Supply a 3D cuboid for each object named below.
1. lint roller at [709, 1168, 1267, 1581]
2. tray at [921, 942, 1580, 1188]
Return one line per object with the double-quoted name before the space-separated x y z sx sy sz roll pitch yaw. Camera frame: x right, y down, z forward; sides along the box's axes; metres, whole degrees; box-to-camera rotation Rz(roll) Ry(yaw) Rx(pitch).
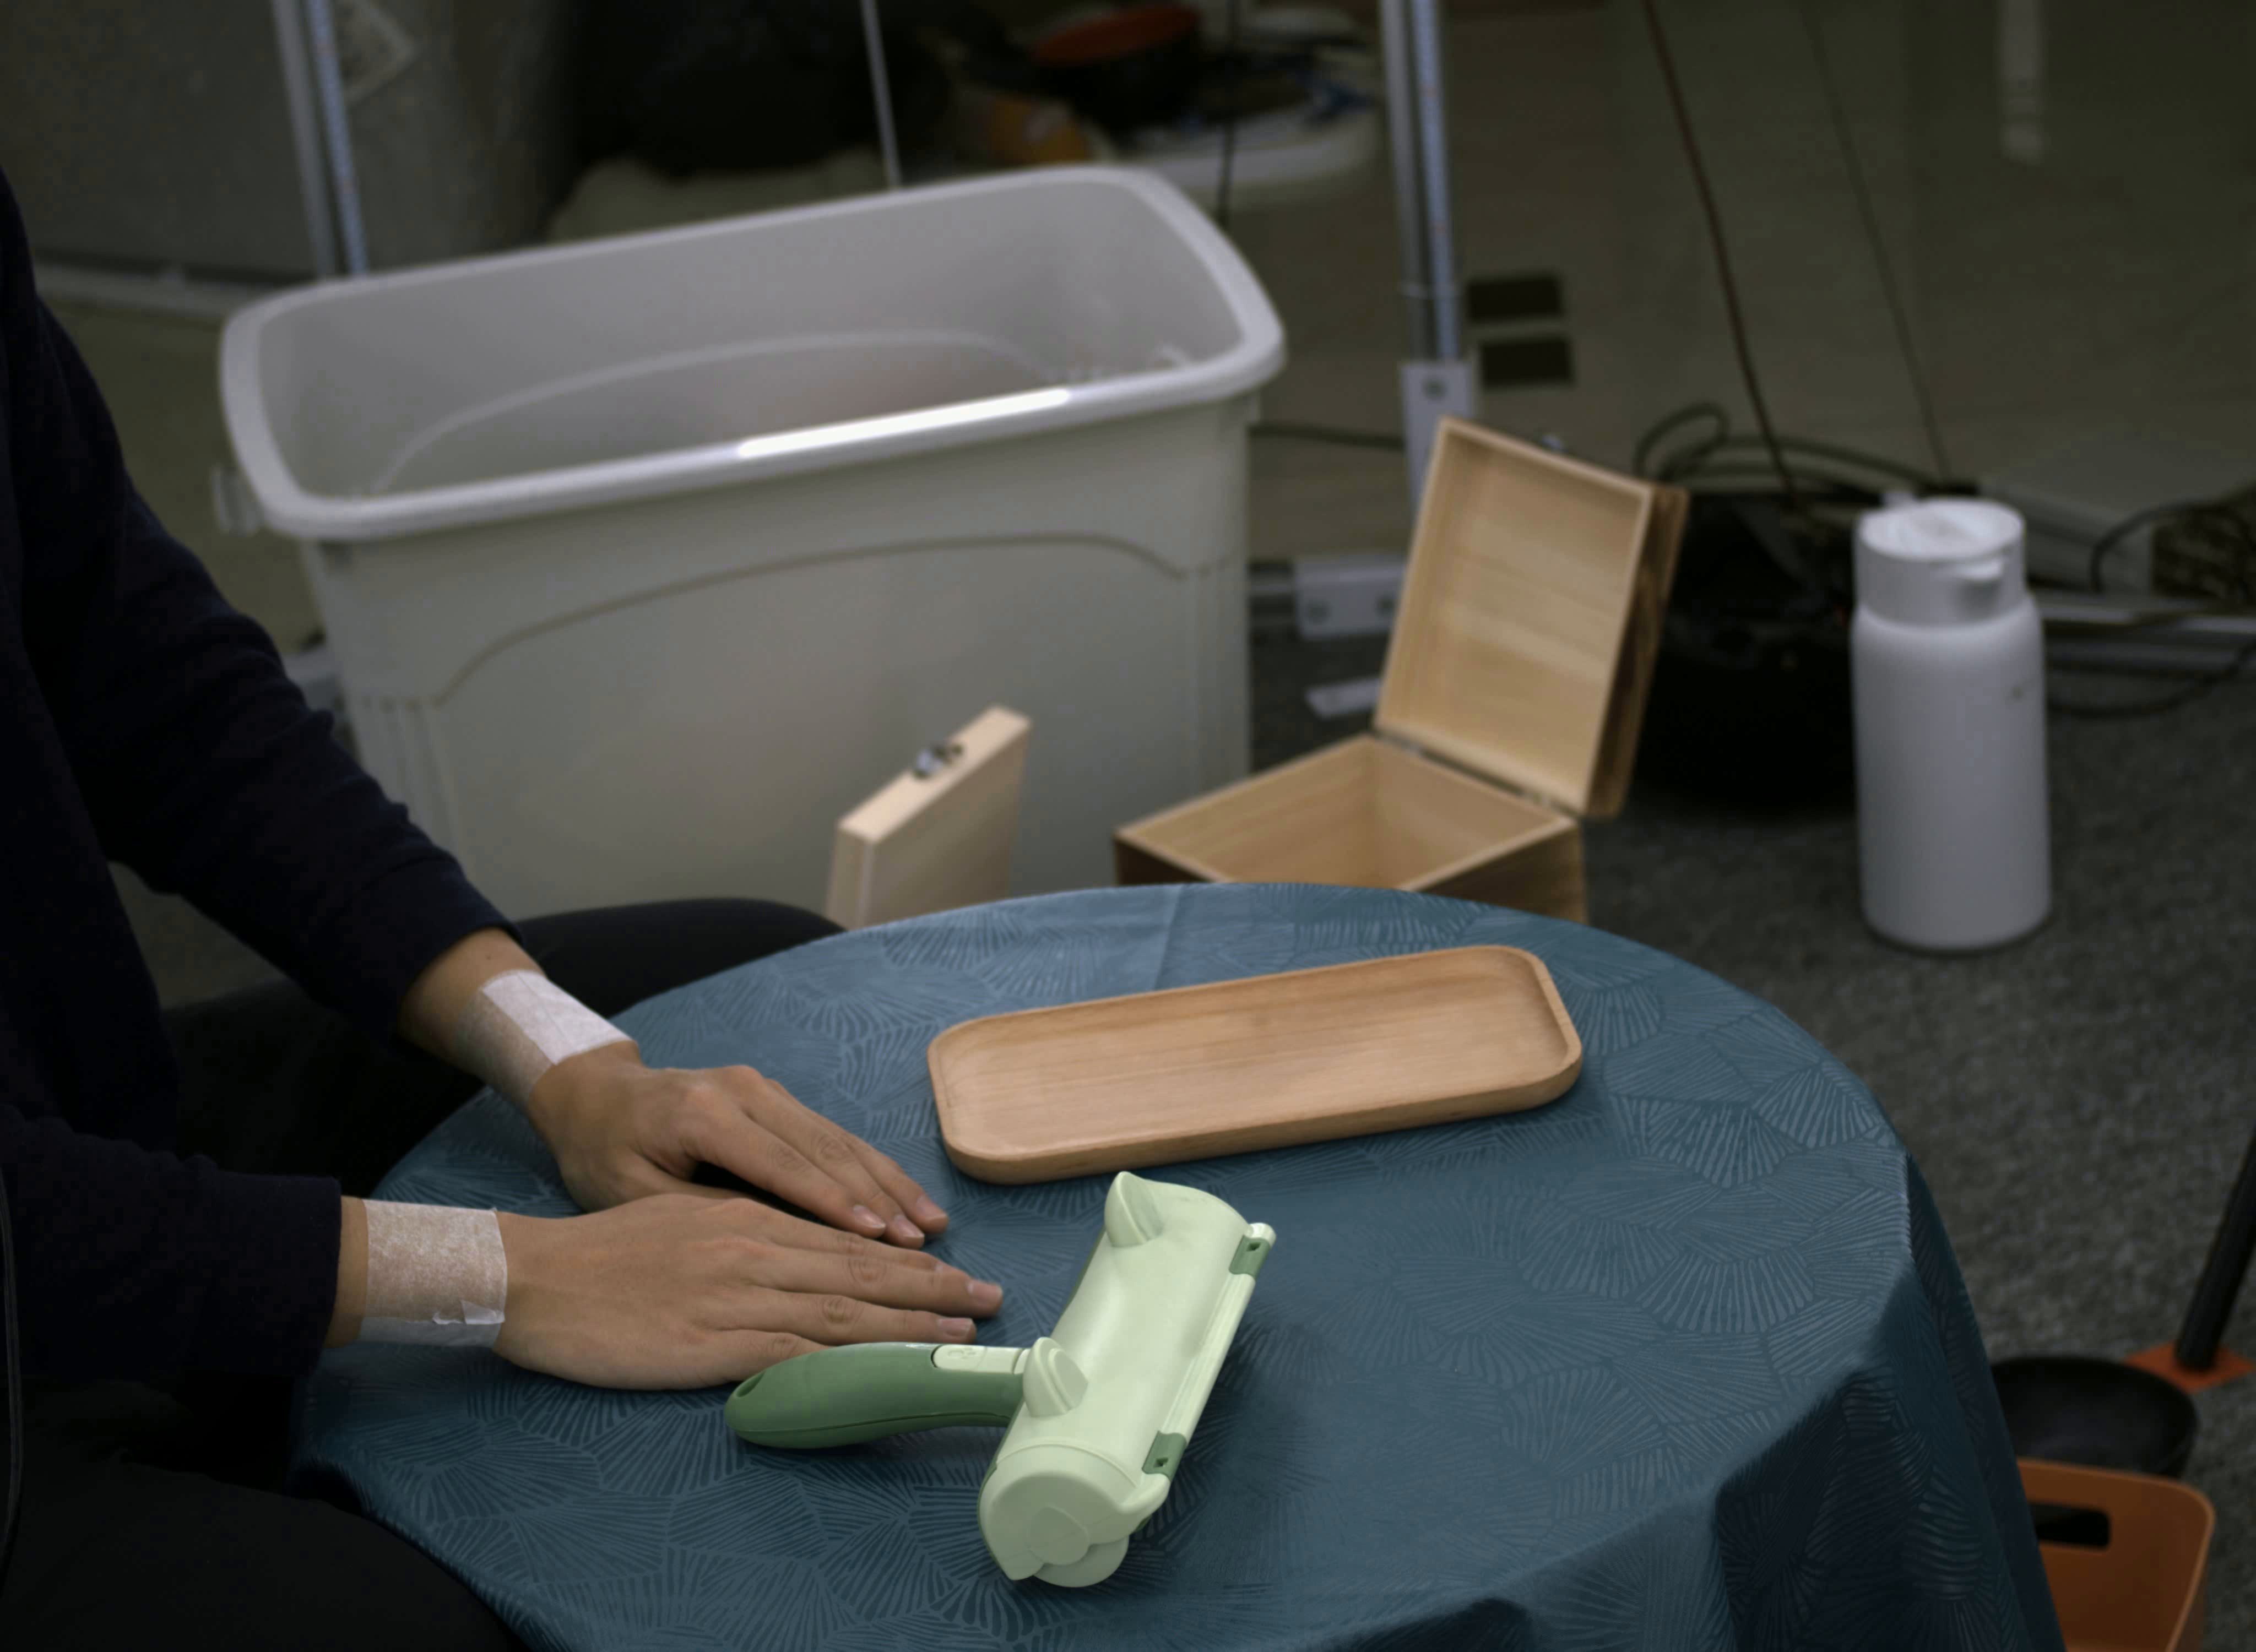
"lint roller" -0.058 0.178 1.972 0.183 0.083 0.196 6 26 11
"tray" 0.047 0.093 2.213 0.250 0.023 0.129 -9 23 -3
